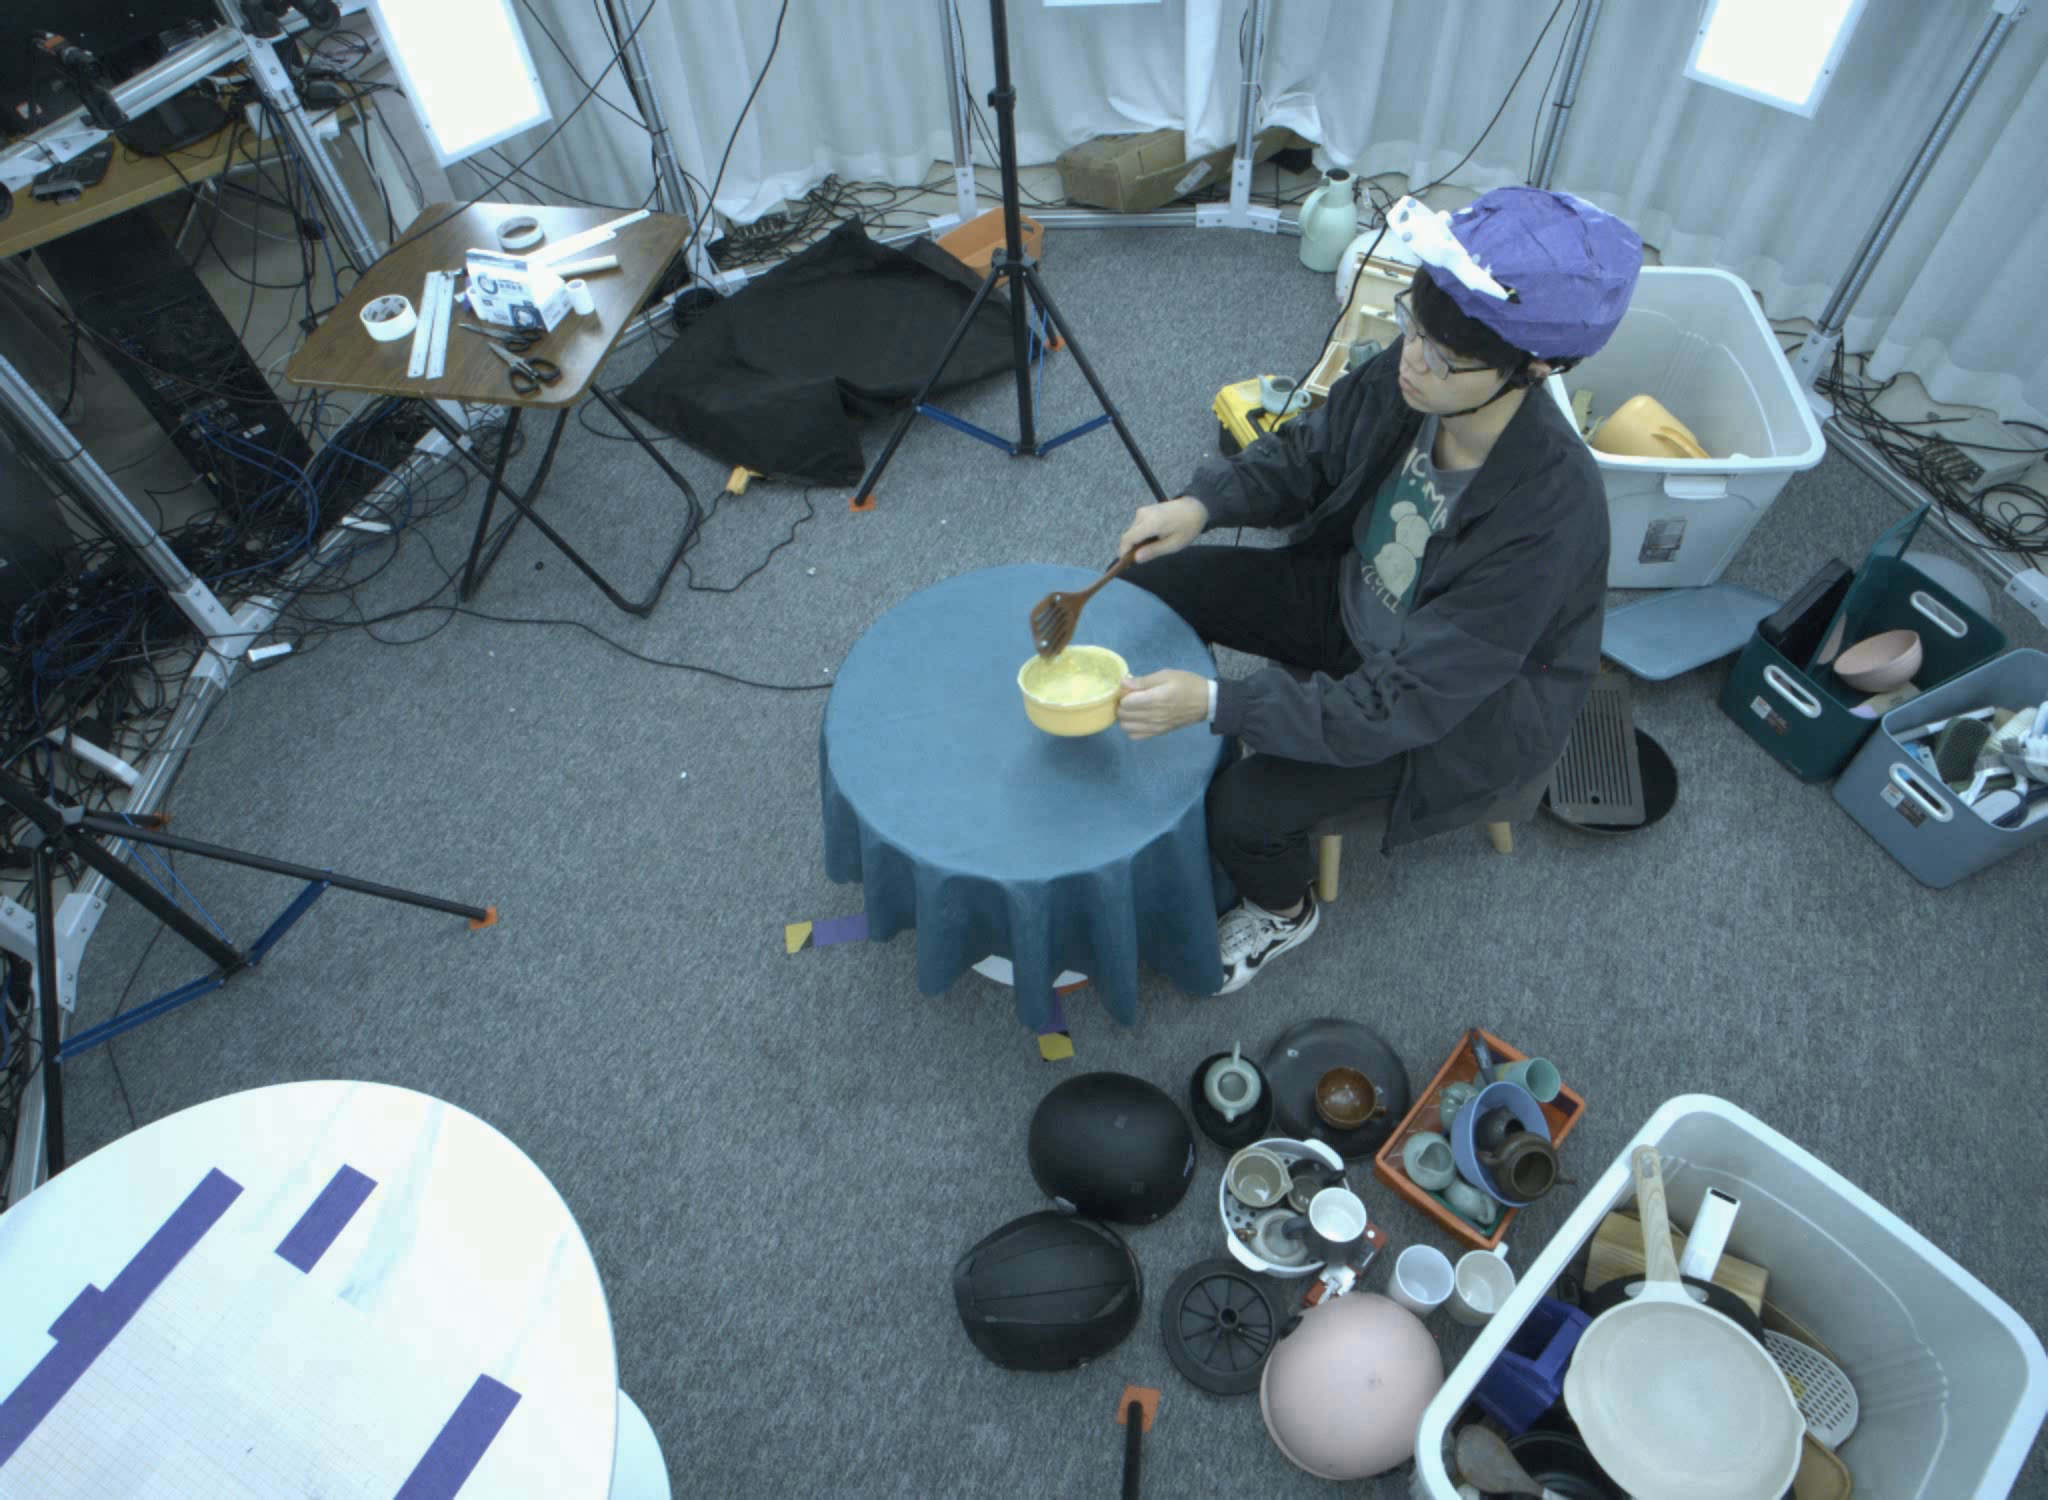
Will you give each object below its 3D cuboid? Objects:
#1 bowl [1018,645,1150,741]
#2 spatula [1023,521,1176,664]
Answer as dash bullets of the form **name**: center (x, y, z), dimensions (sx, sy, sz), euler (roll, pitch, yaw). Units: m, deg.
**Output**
- **bowl**: center (0.084, -0.073, 1.703), dimensions (0.177, 0.075, 0.153), euler (6, 39, 16)
- **spatula**: center (0.114, -0.245, 1.764), dimensions (0.023, 0.086, 0.390), euler (5, 35, 42)
